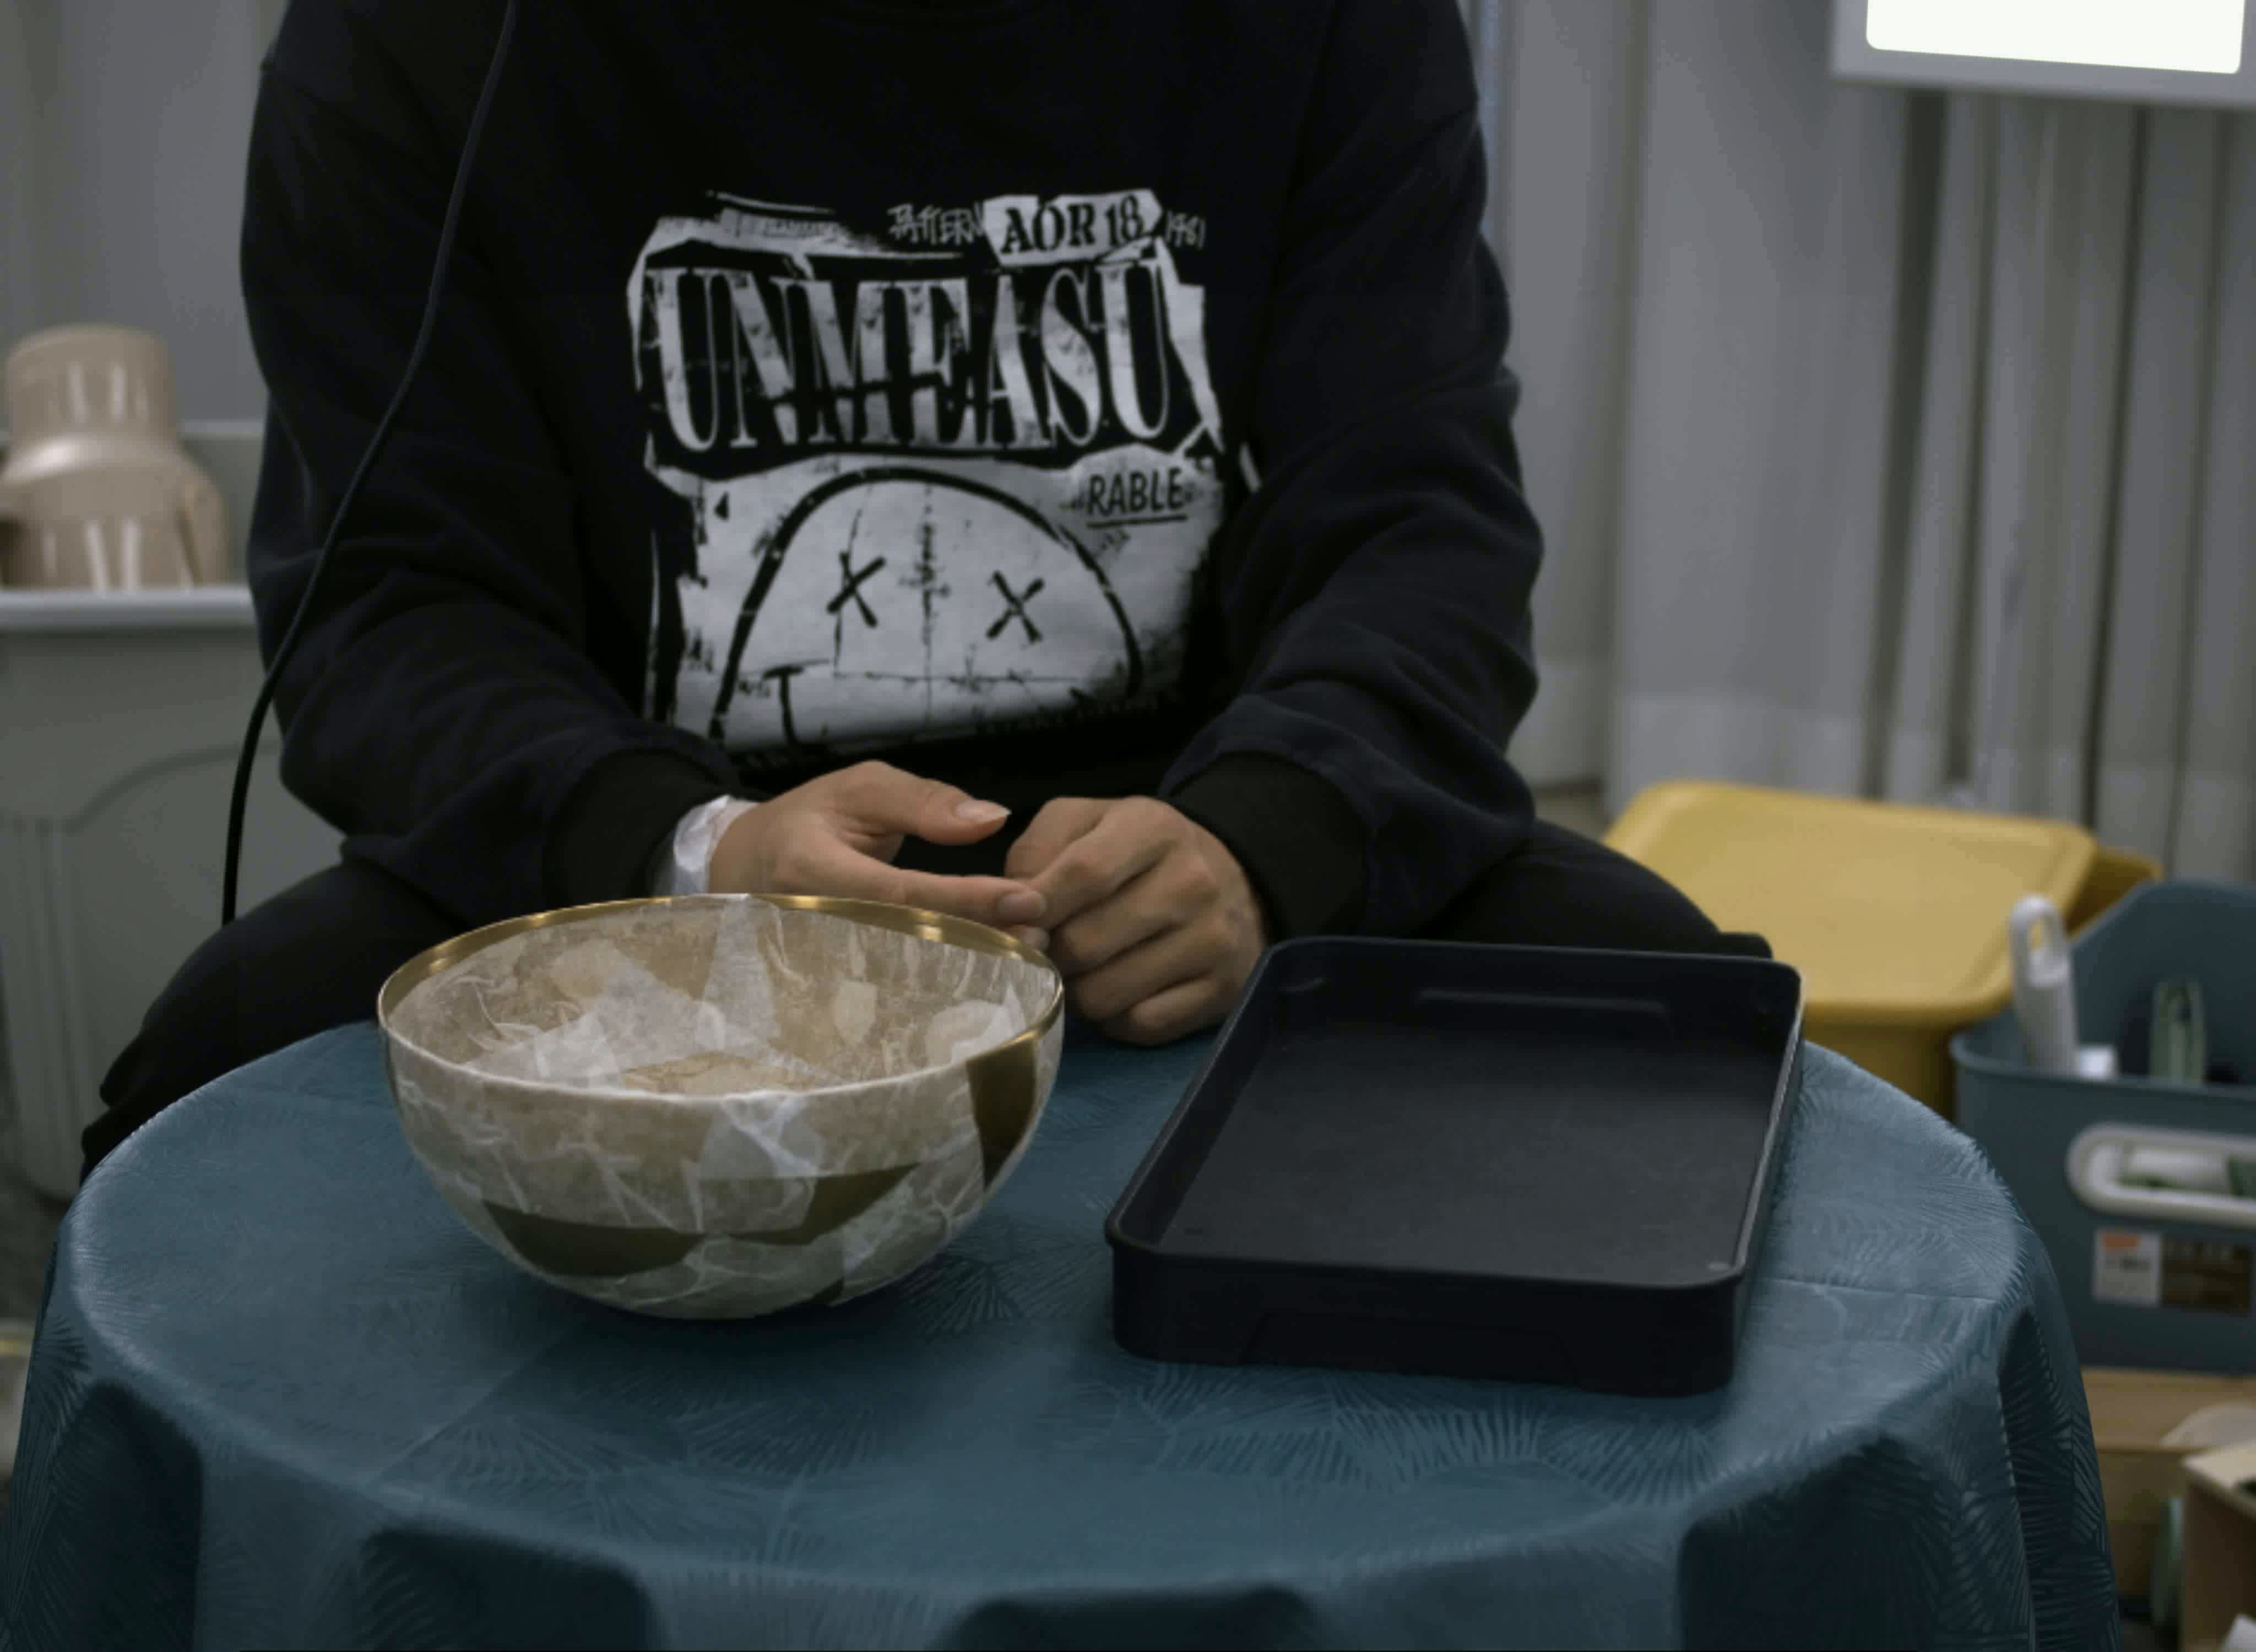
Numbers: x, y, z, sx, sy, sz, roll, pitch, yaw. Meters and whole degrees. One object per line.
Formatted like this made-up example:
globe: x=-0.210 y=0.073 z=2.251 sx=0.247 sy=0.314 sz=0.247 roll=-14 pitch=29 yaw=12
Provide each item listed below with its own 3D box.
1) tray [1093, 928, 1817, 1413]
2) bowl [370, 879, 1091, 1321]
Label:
tray: x=0.108 y=0.099 z=1.618 sx=0.183 sy=0.037 sz=0.317 roll=4 pitch=17 yaw=11
bowl: x=-0.114 y=0.088 z=1.537 sx=0.214 sy=0.095 sz=0.213 roll=0 pitch=16 yaw=1
